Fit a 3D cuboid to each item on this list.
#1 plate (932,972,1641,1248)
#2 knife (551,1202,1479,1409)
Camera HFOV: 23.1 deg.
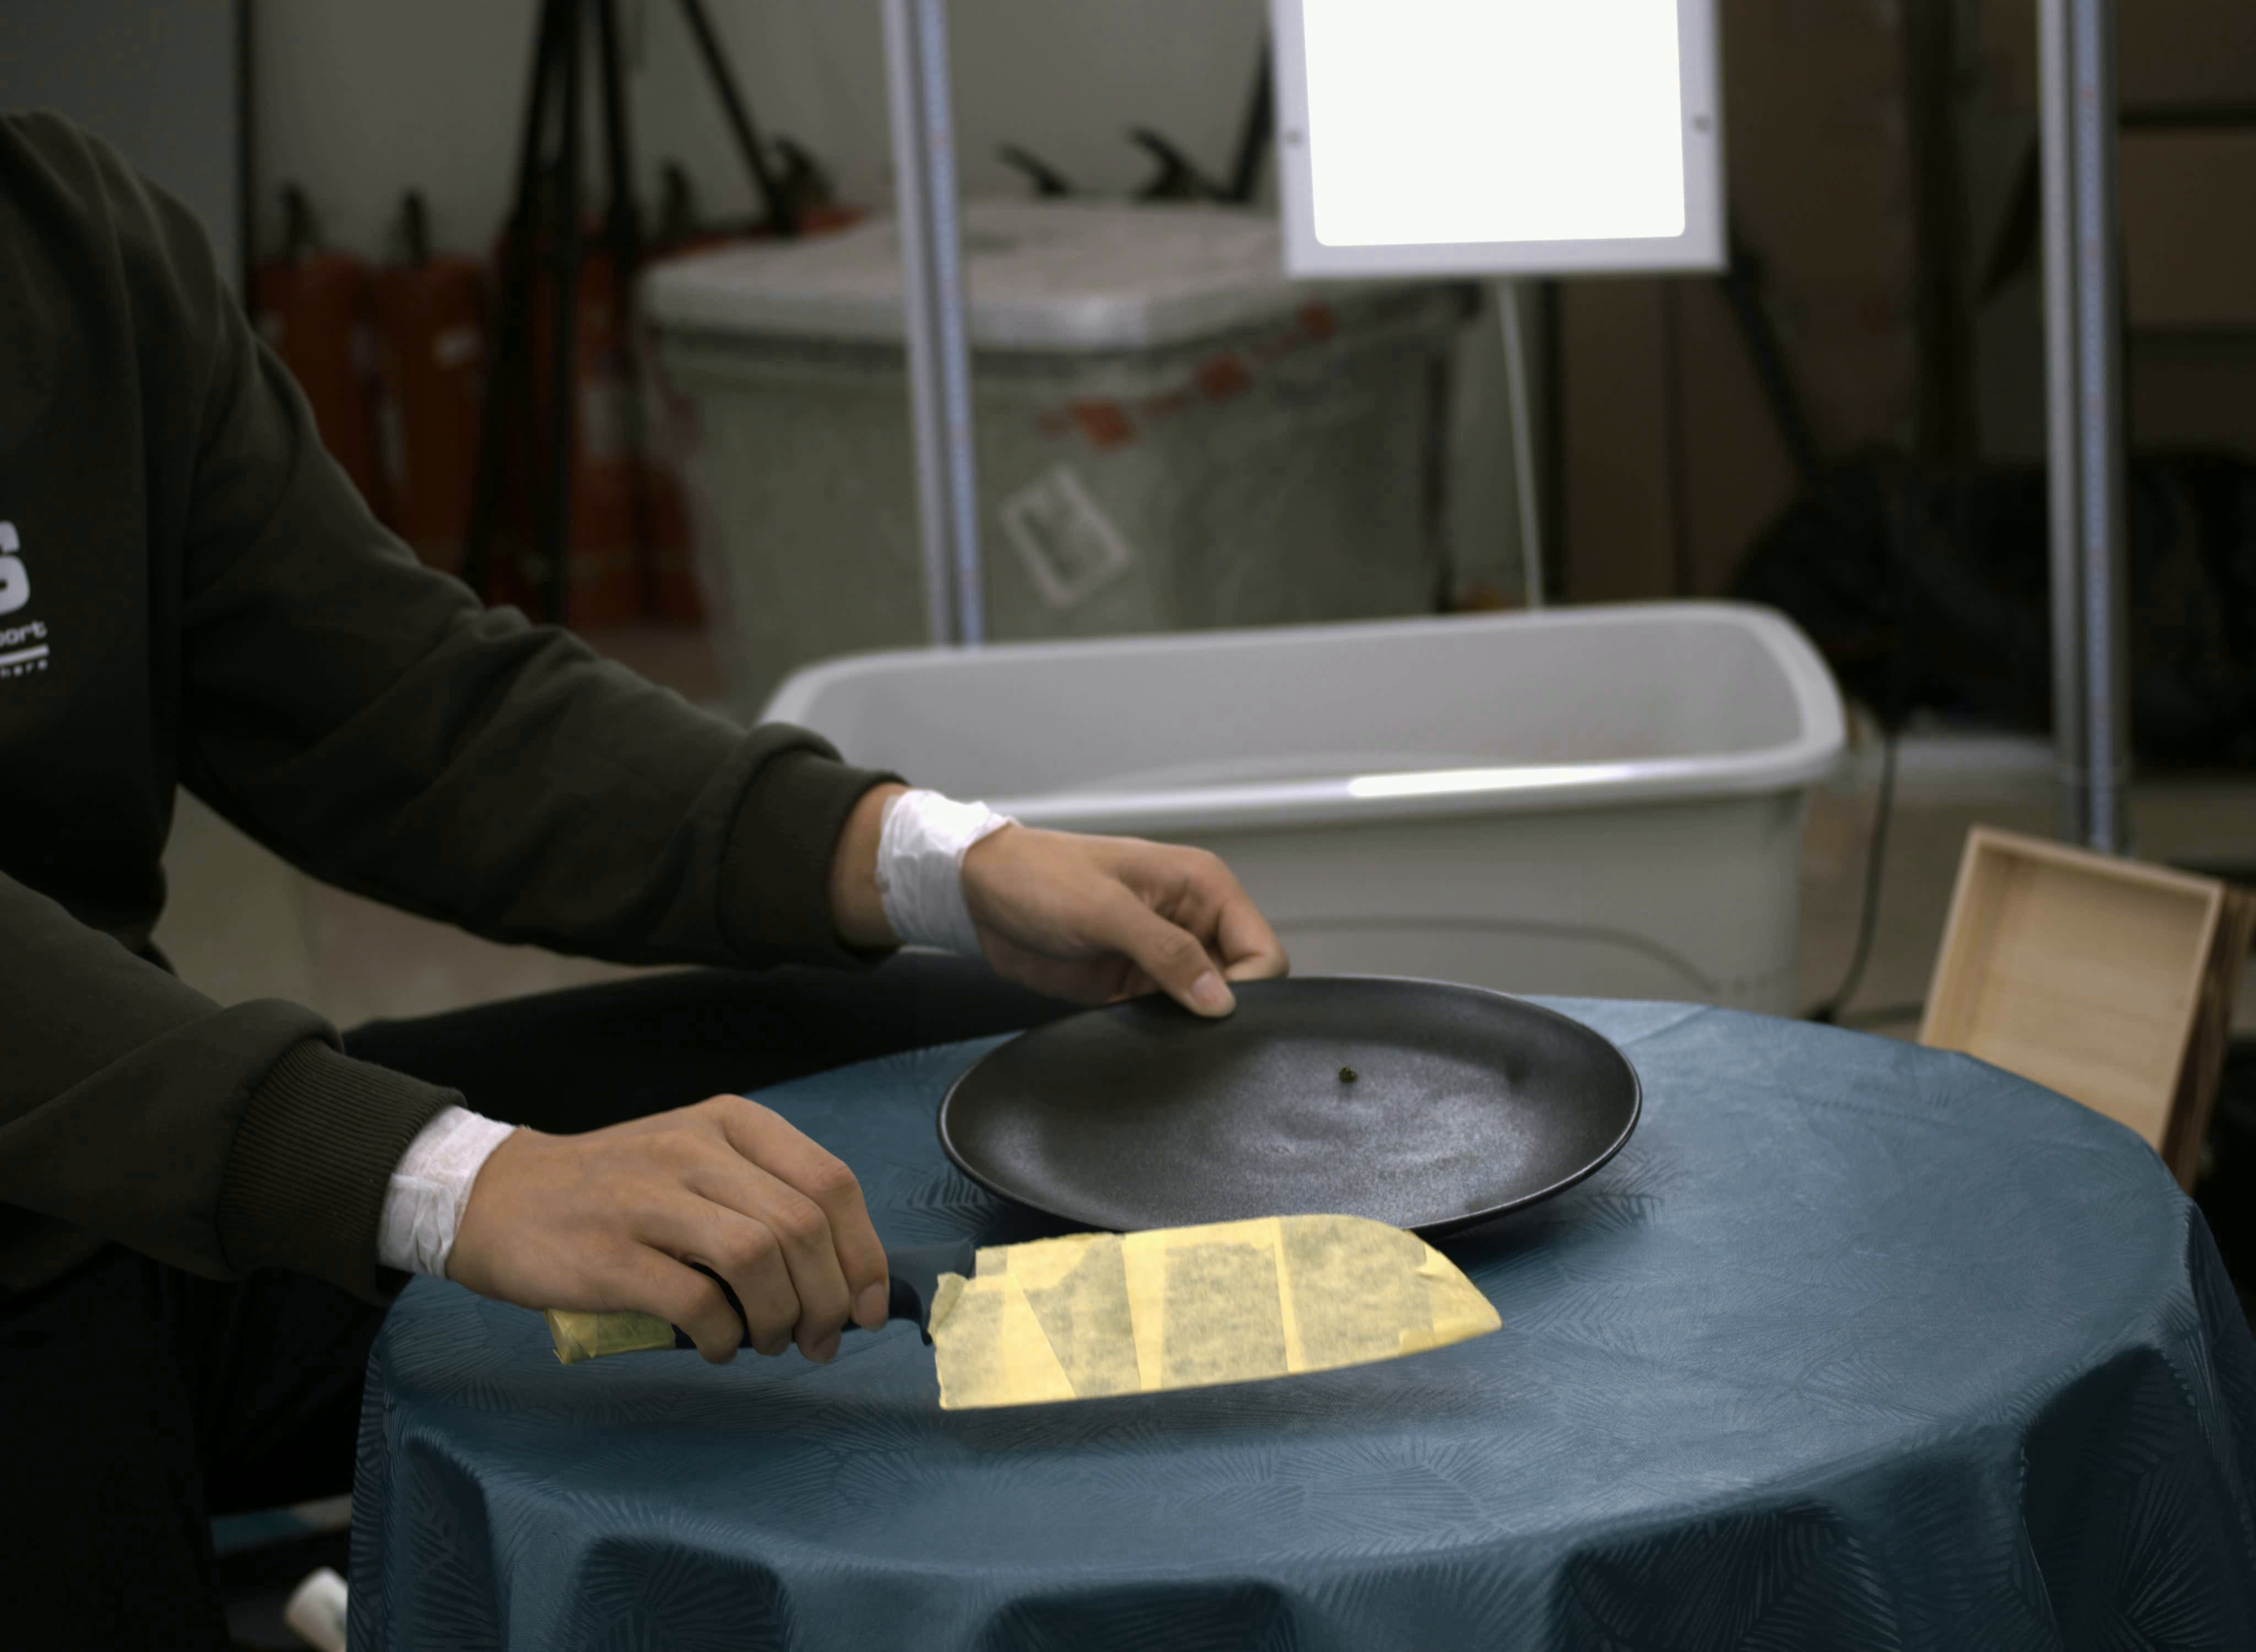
[{"bbox_3d":[0.055,0.103,1.891,0.244,0.023,0.244,-4,19,0],"label":"plate"},{"bbox_3d":[-0.035,0.150,1.687,0.290,0.027,0.080,-7,34,6],"label":"knife"}]
